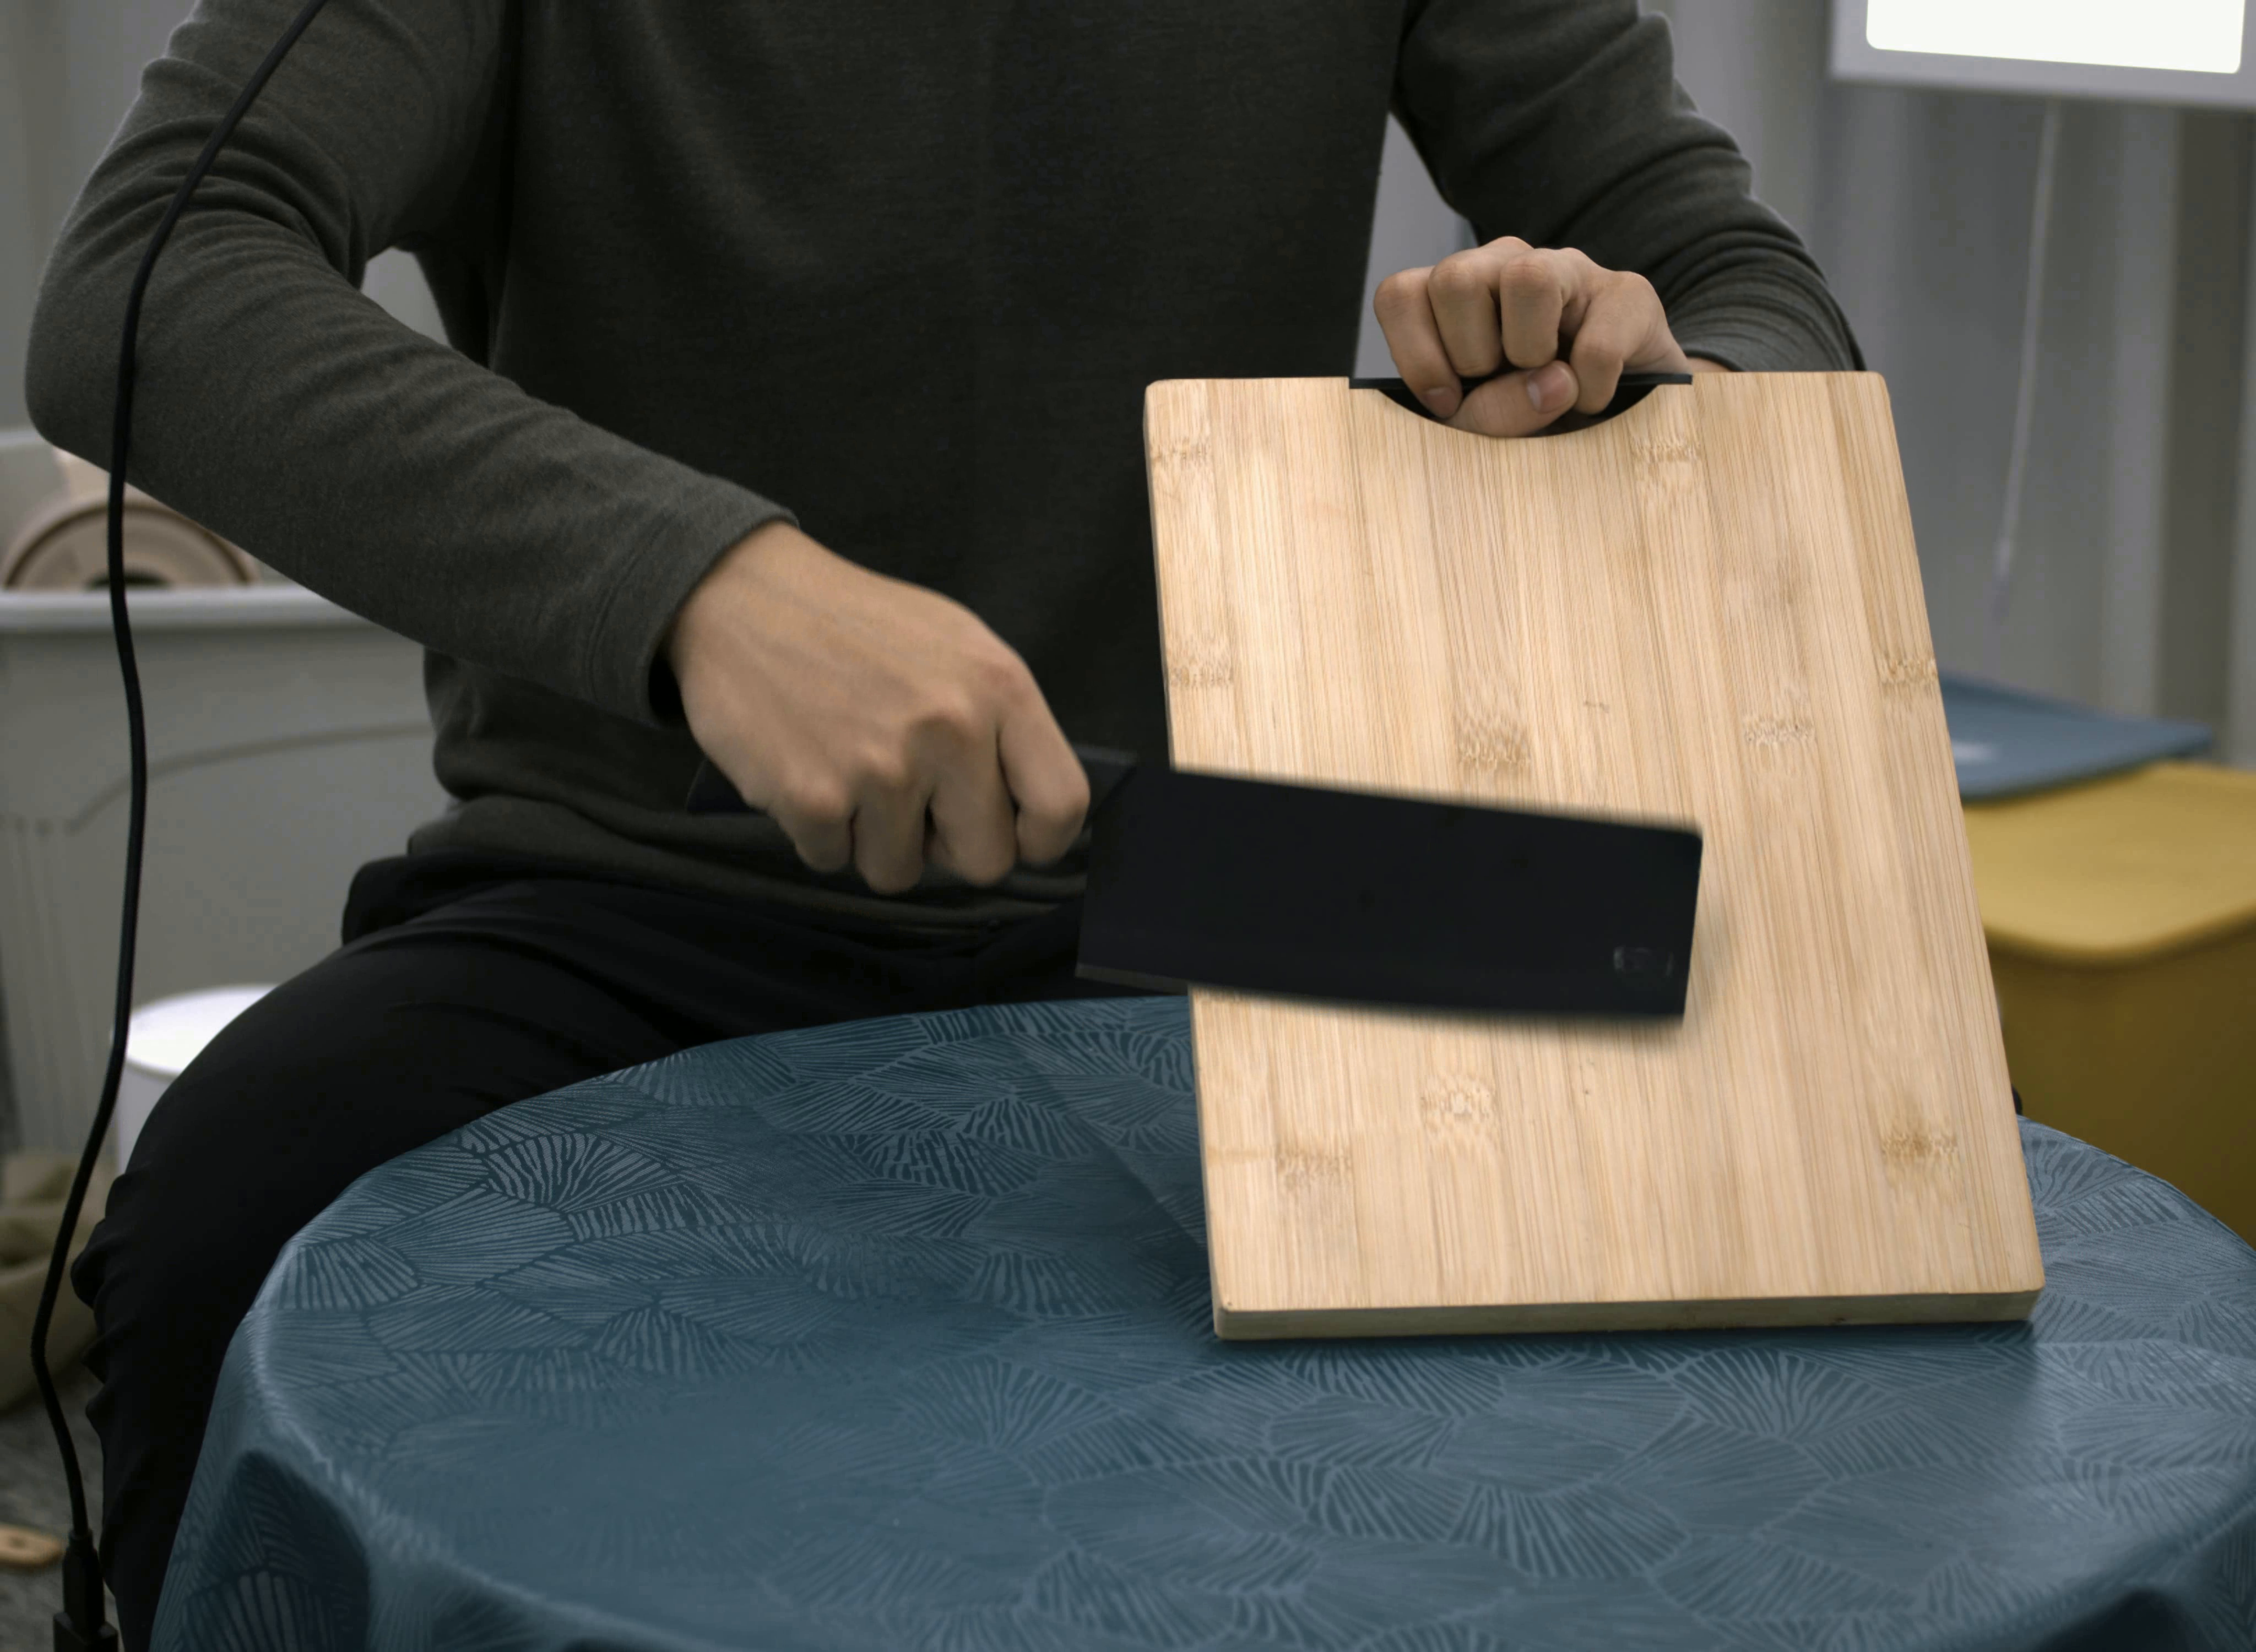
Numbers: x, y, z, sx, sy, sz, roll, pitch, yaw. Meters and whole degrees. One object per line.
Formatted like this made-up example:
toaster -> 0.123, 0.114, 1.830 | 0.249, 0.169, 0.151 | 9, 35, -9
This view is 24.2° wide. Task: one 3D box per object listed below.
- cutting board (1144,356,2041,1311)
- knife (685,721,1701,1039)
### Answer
cutting board -> 0.134, -0.004, 1.603 | 0.250, 0.024, 0.346 | -1, 56, -6
knife -> 0.019, 0.014, 1.552 | 0.301, 0.081, 0.021 | 11, -13, 3
